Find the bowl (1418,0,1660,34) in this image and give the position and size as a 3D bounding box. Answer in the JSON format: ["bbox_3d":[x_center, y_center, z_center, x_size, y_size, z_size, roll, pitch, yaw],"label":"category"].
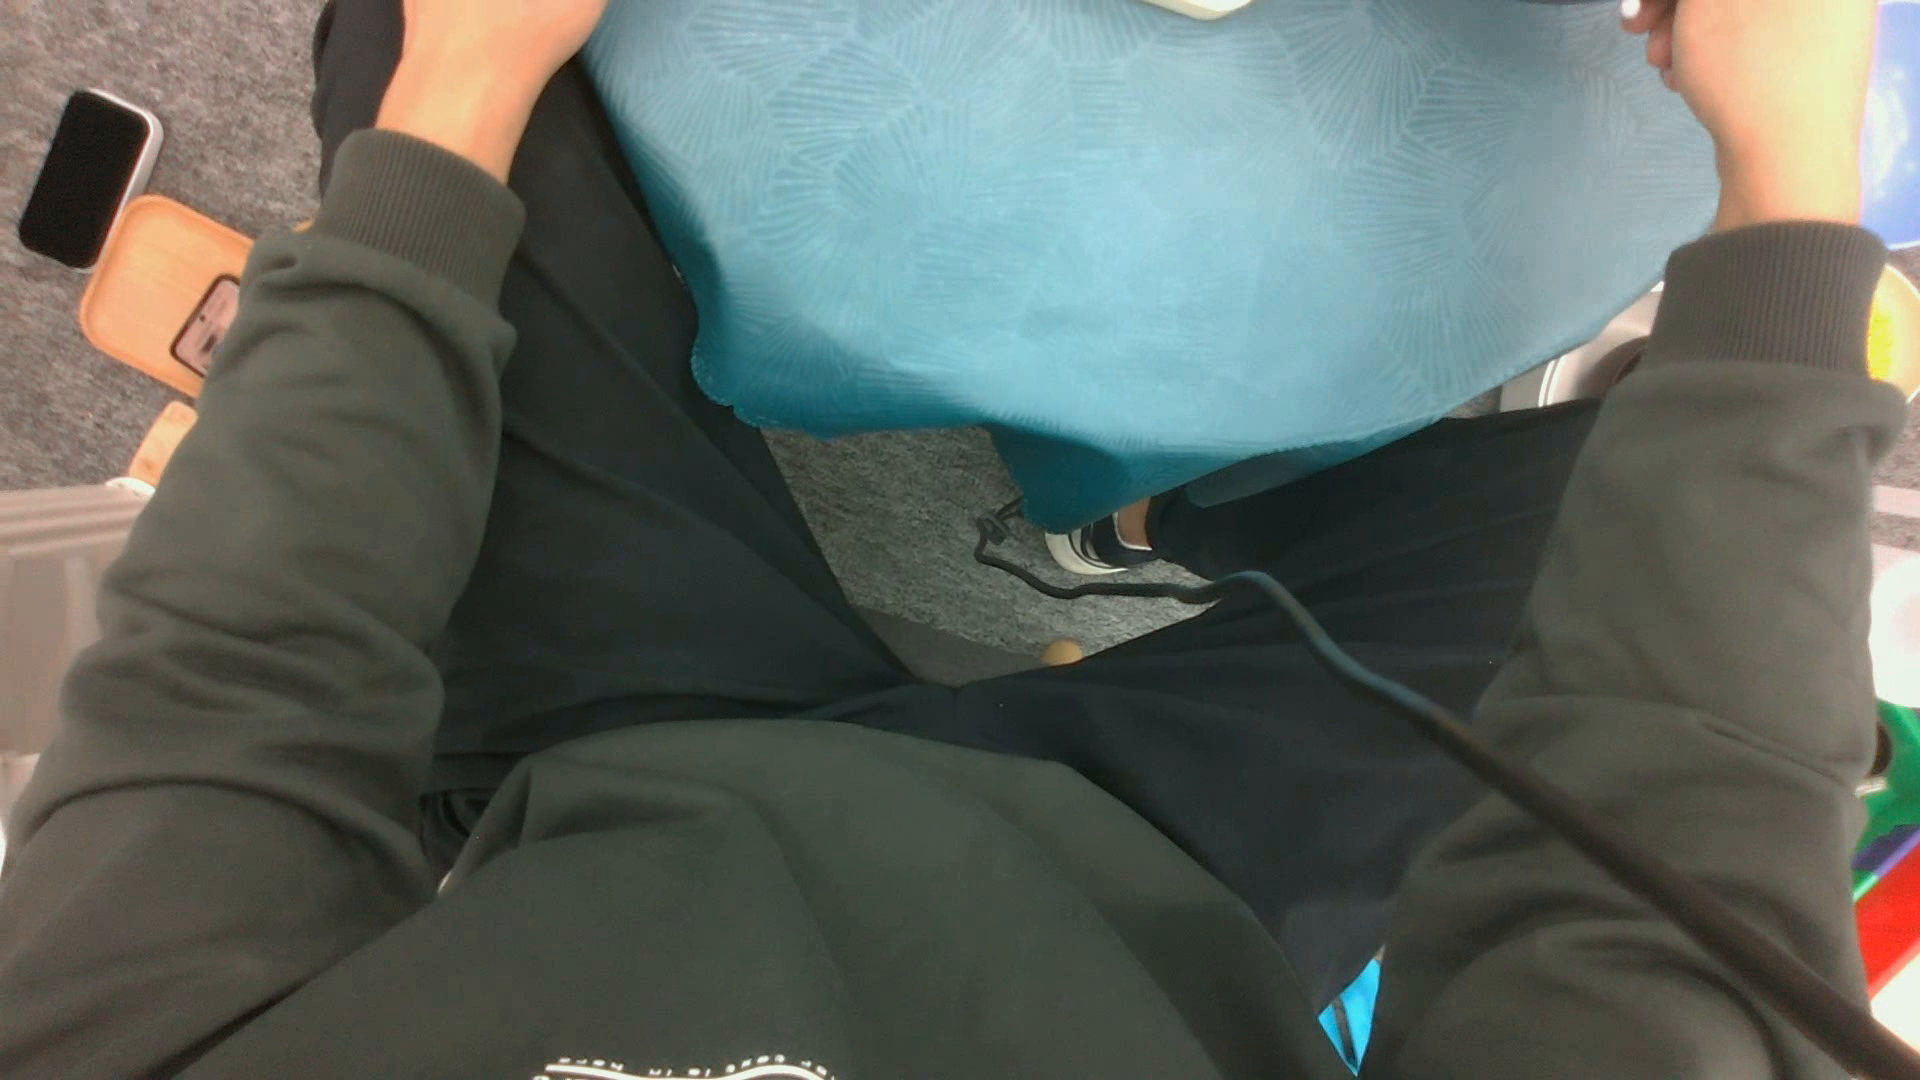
[{"bbox_3d":[0.213,-0.265,0.553,0.170,0.066,0.137,25,85,-1],"label":"bowl"}]

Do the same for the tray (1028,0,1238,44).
[{"bbox_3d":[-0.011,-0.334,0.559,0.300,0.027,0.191,14,96,-7],"label":"tray"}]
